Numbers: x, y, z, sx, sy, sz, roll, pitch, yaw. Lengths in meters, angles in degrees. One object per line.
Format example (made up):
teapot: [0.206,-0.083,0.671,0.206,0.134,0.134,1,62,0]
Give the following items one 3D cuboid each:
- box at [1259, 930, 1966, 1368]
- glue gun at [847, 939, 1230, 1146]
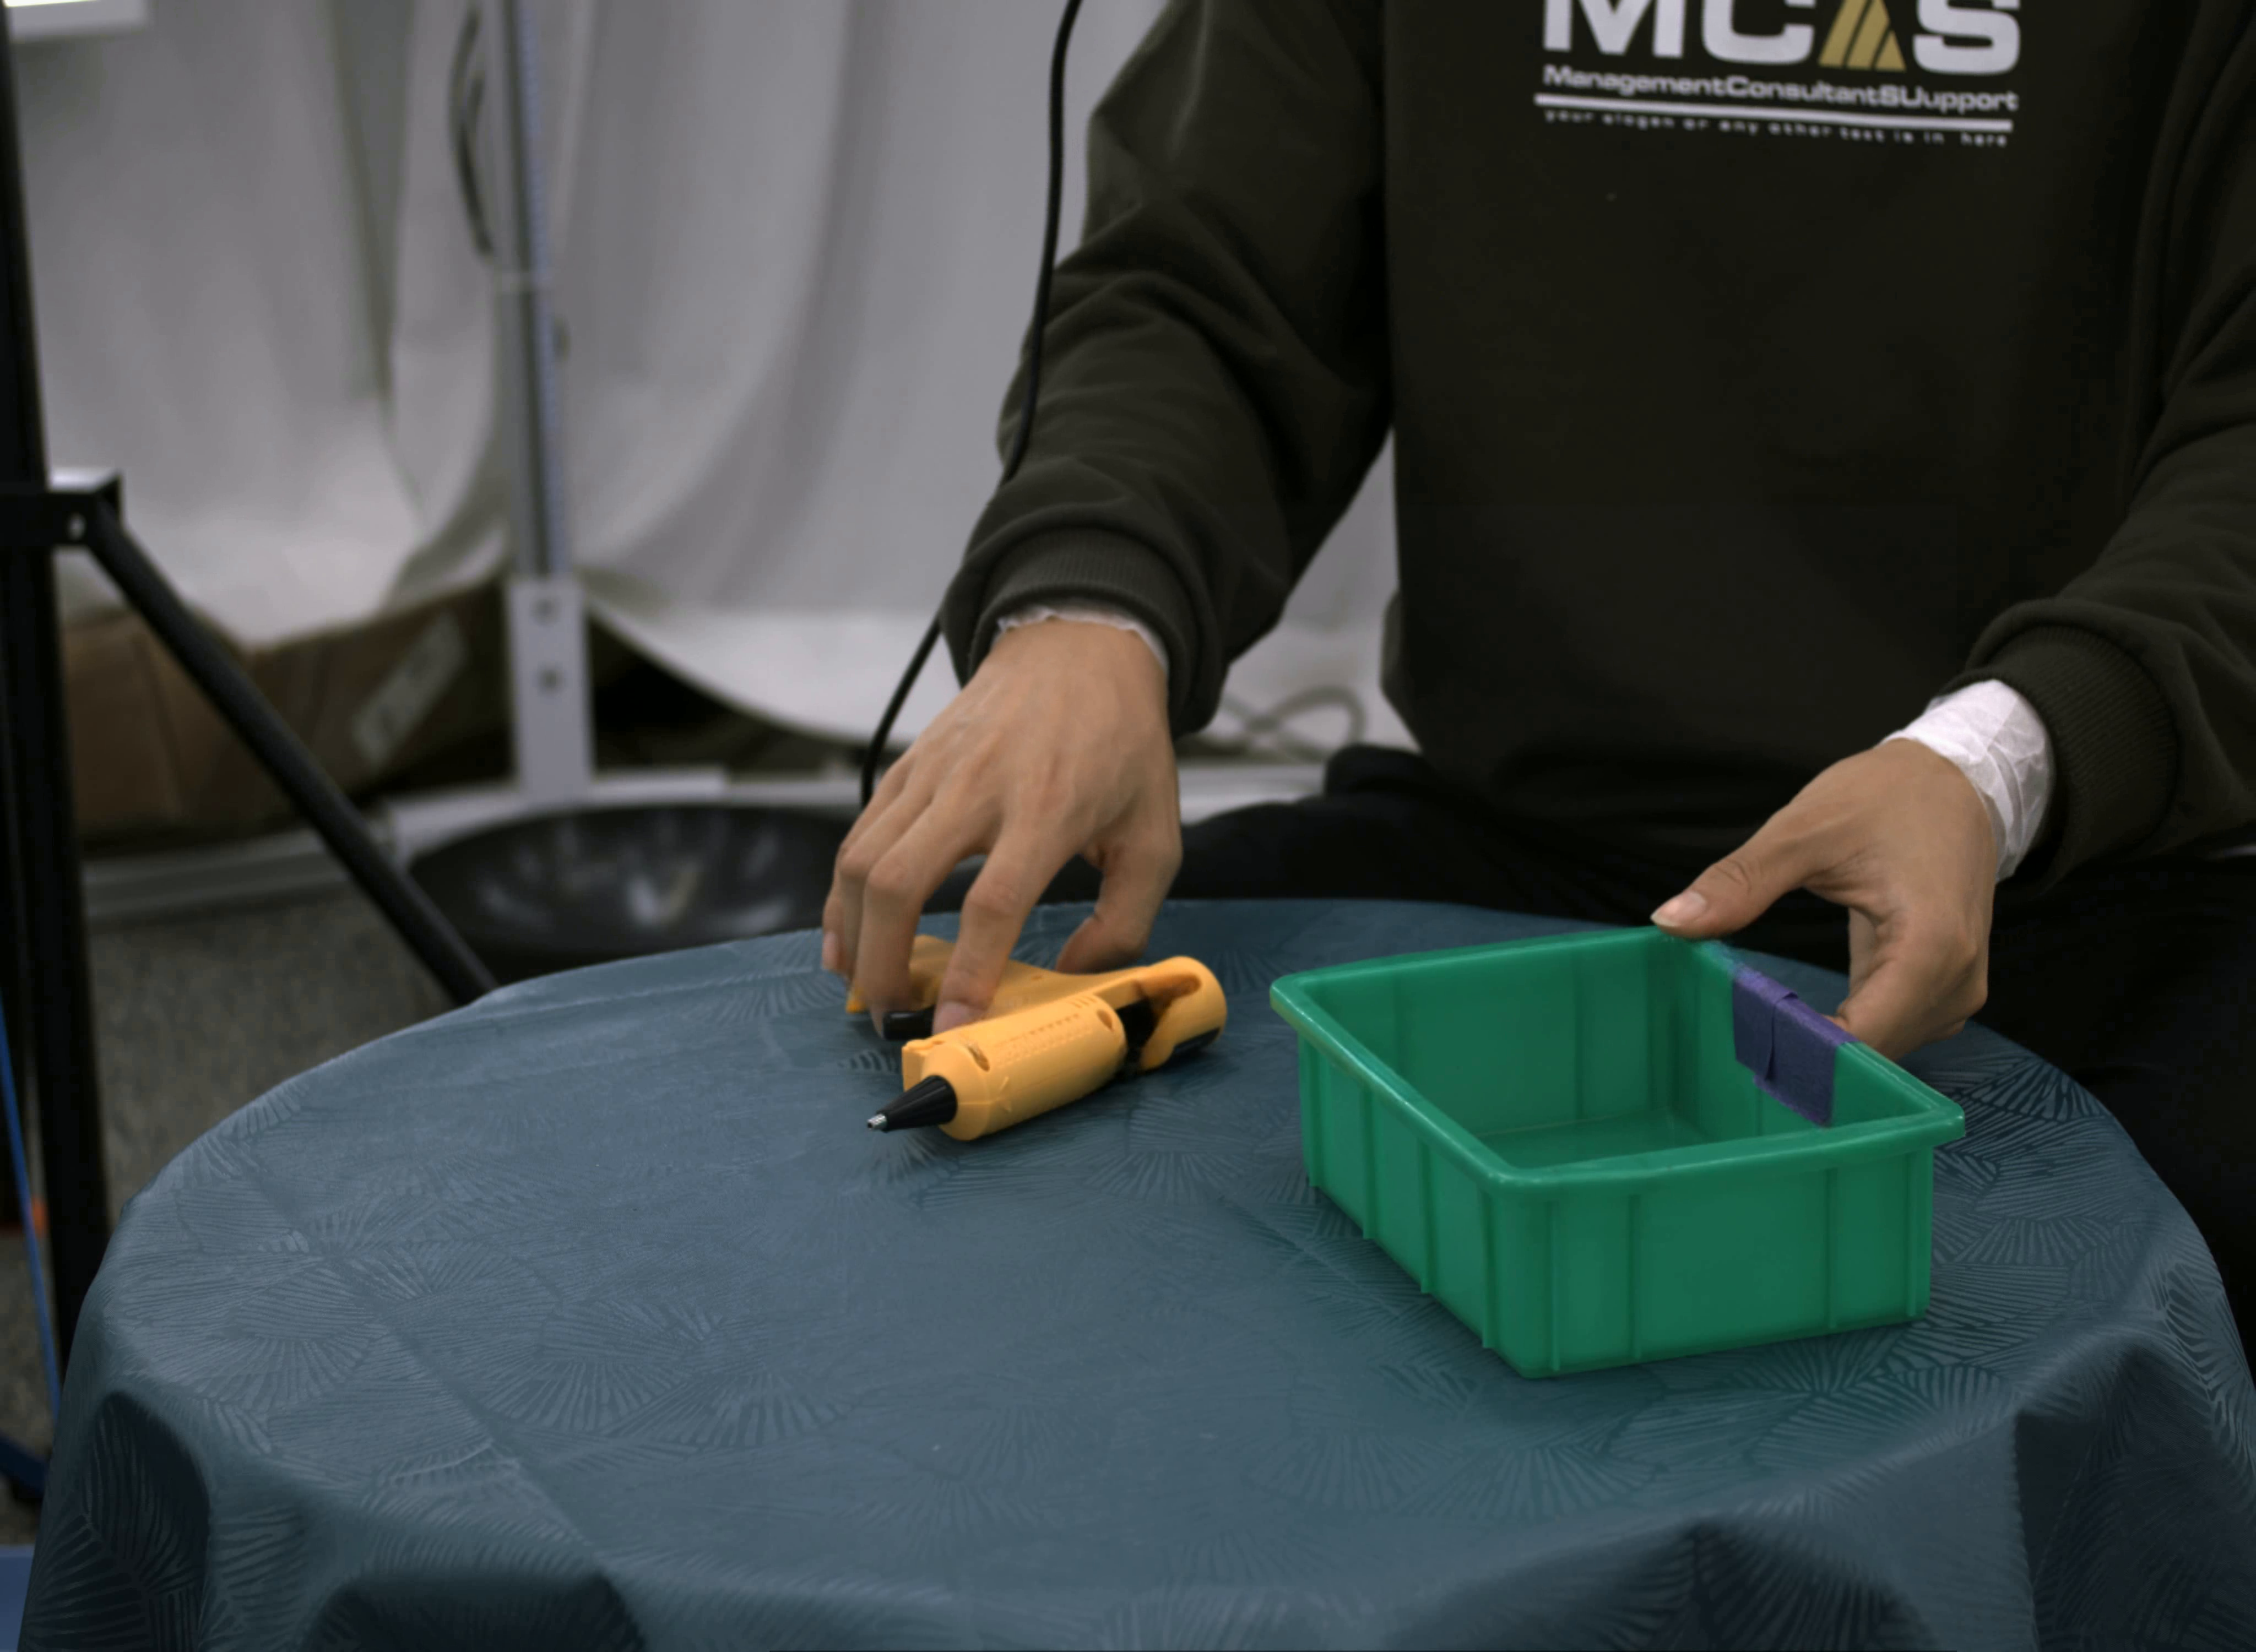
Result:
box: [0.132,0.089,1.487,0.136,0.065,0.214,-5,14,-17]
glue gun: [-0.062,0.069,1.662,0.136,0.031,0.148,7,18,38]
